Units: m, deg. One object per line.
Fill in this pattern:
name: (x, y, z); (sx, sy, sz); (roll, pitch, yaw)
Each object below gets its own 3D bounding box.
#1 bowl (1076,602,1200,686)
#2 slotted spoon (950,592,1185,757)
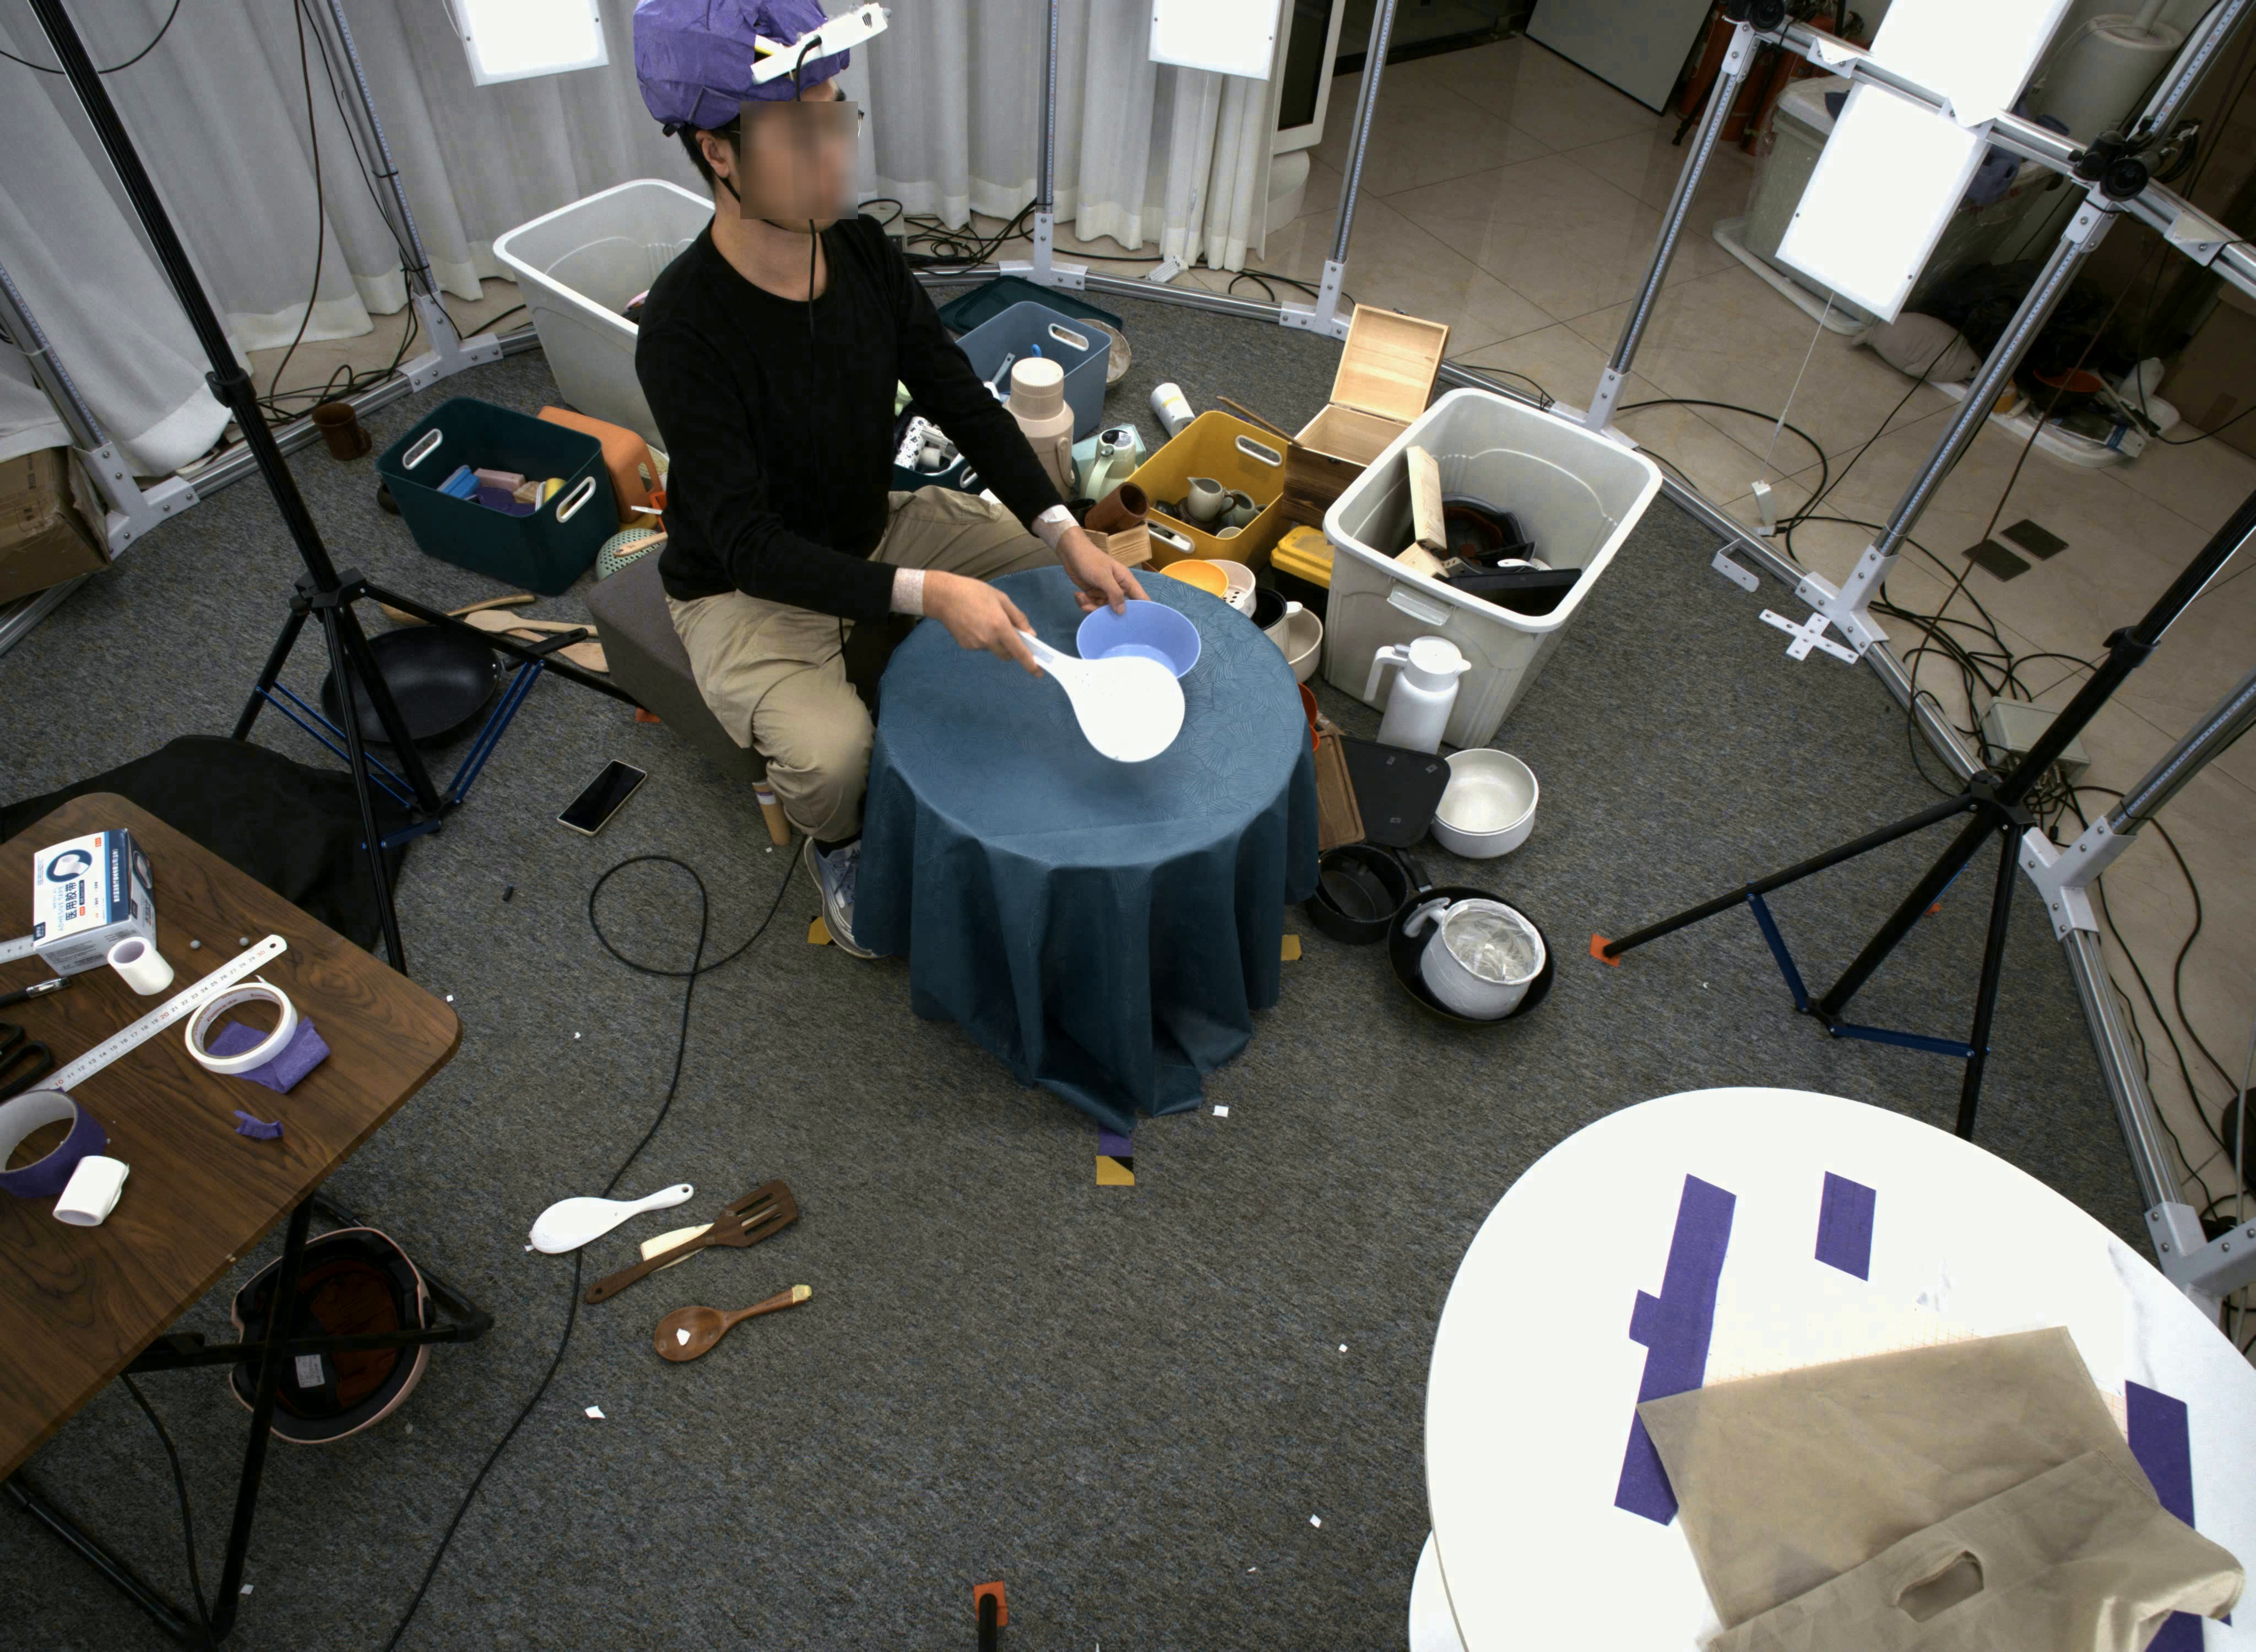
bowl: (0.013, -0.241, 1.833); (0.176, 0.068, 0.180); (2, 48, -2)
slotted spoon: (-0.085, -0.212, 1.694); (0.351, 0.045, 0.136); (31, 85, 6)
